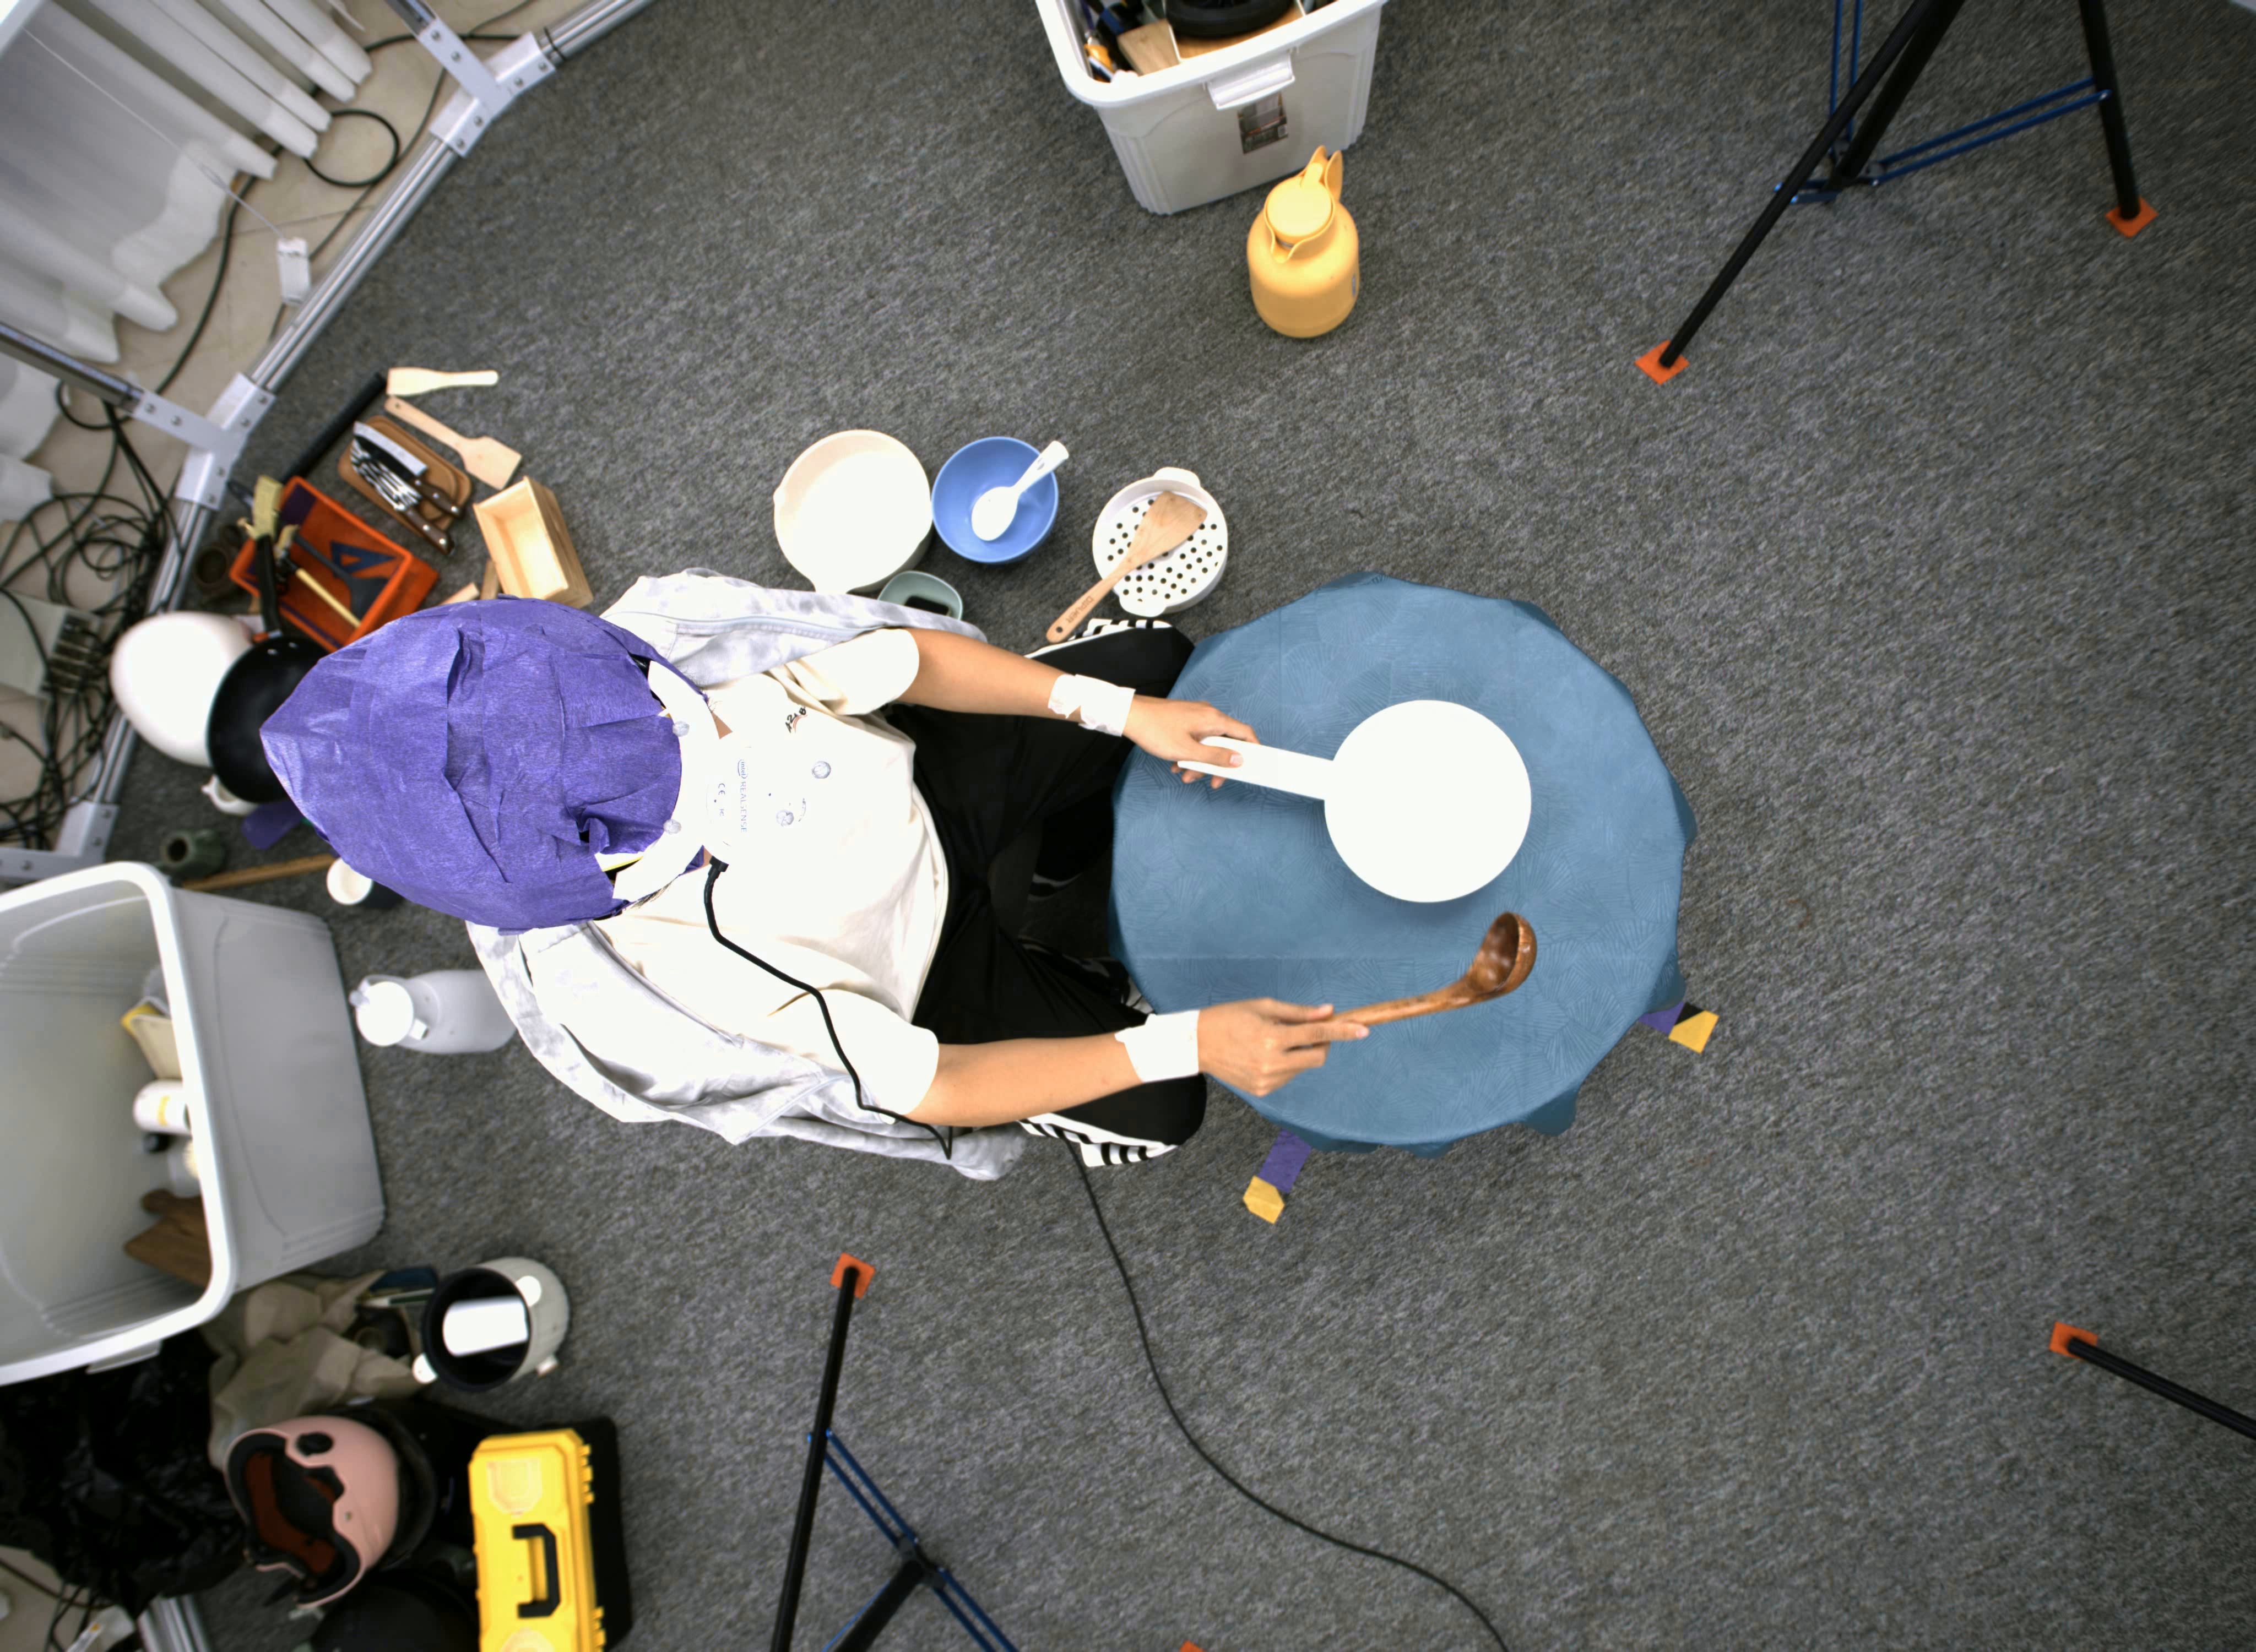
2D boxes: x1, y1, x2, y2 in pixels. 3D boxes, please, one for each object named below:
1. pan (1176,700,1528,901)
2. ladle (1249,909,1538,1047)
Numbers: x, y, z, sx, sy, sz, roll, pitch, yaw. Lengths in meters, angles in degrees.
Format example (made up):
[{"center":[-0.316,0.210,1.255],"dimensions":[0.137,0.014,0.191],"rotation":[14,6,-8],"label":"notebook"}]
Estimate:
[{"center":[0.228,-0.041,1.421],"dimensions":[0.355,0.102,0.201],"rotation":[14,89,12],"label":"pan"},{"center":[0.239,0.139,1.262],"dimensions":[0.275,0.080,0.078],"rotation":[-13,112,6],"label":"ladle"}]
